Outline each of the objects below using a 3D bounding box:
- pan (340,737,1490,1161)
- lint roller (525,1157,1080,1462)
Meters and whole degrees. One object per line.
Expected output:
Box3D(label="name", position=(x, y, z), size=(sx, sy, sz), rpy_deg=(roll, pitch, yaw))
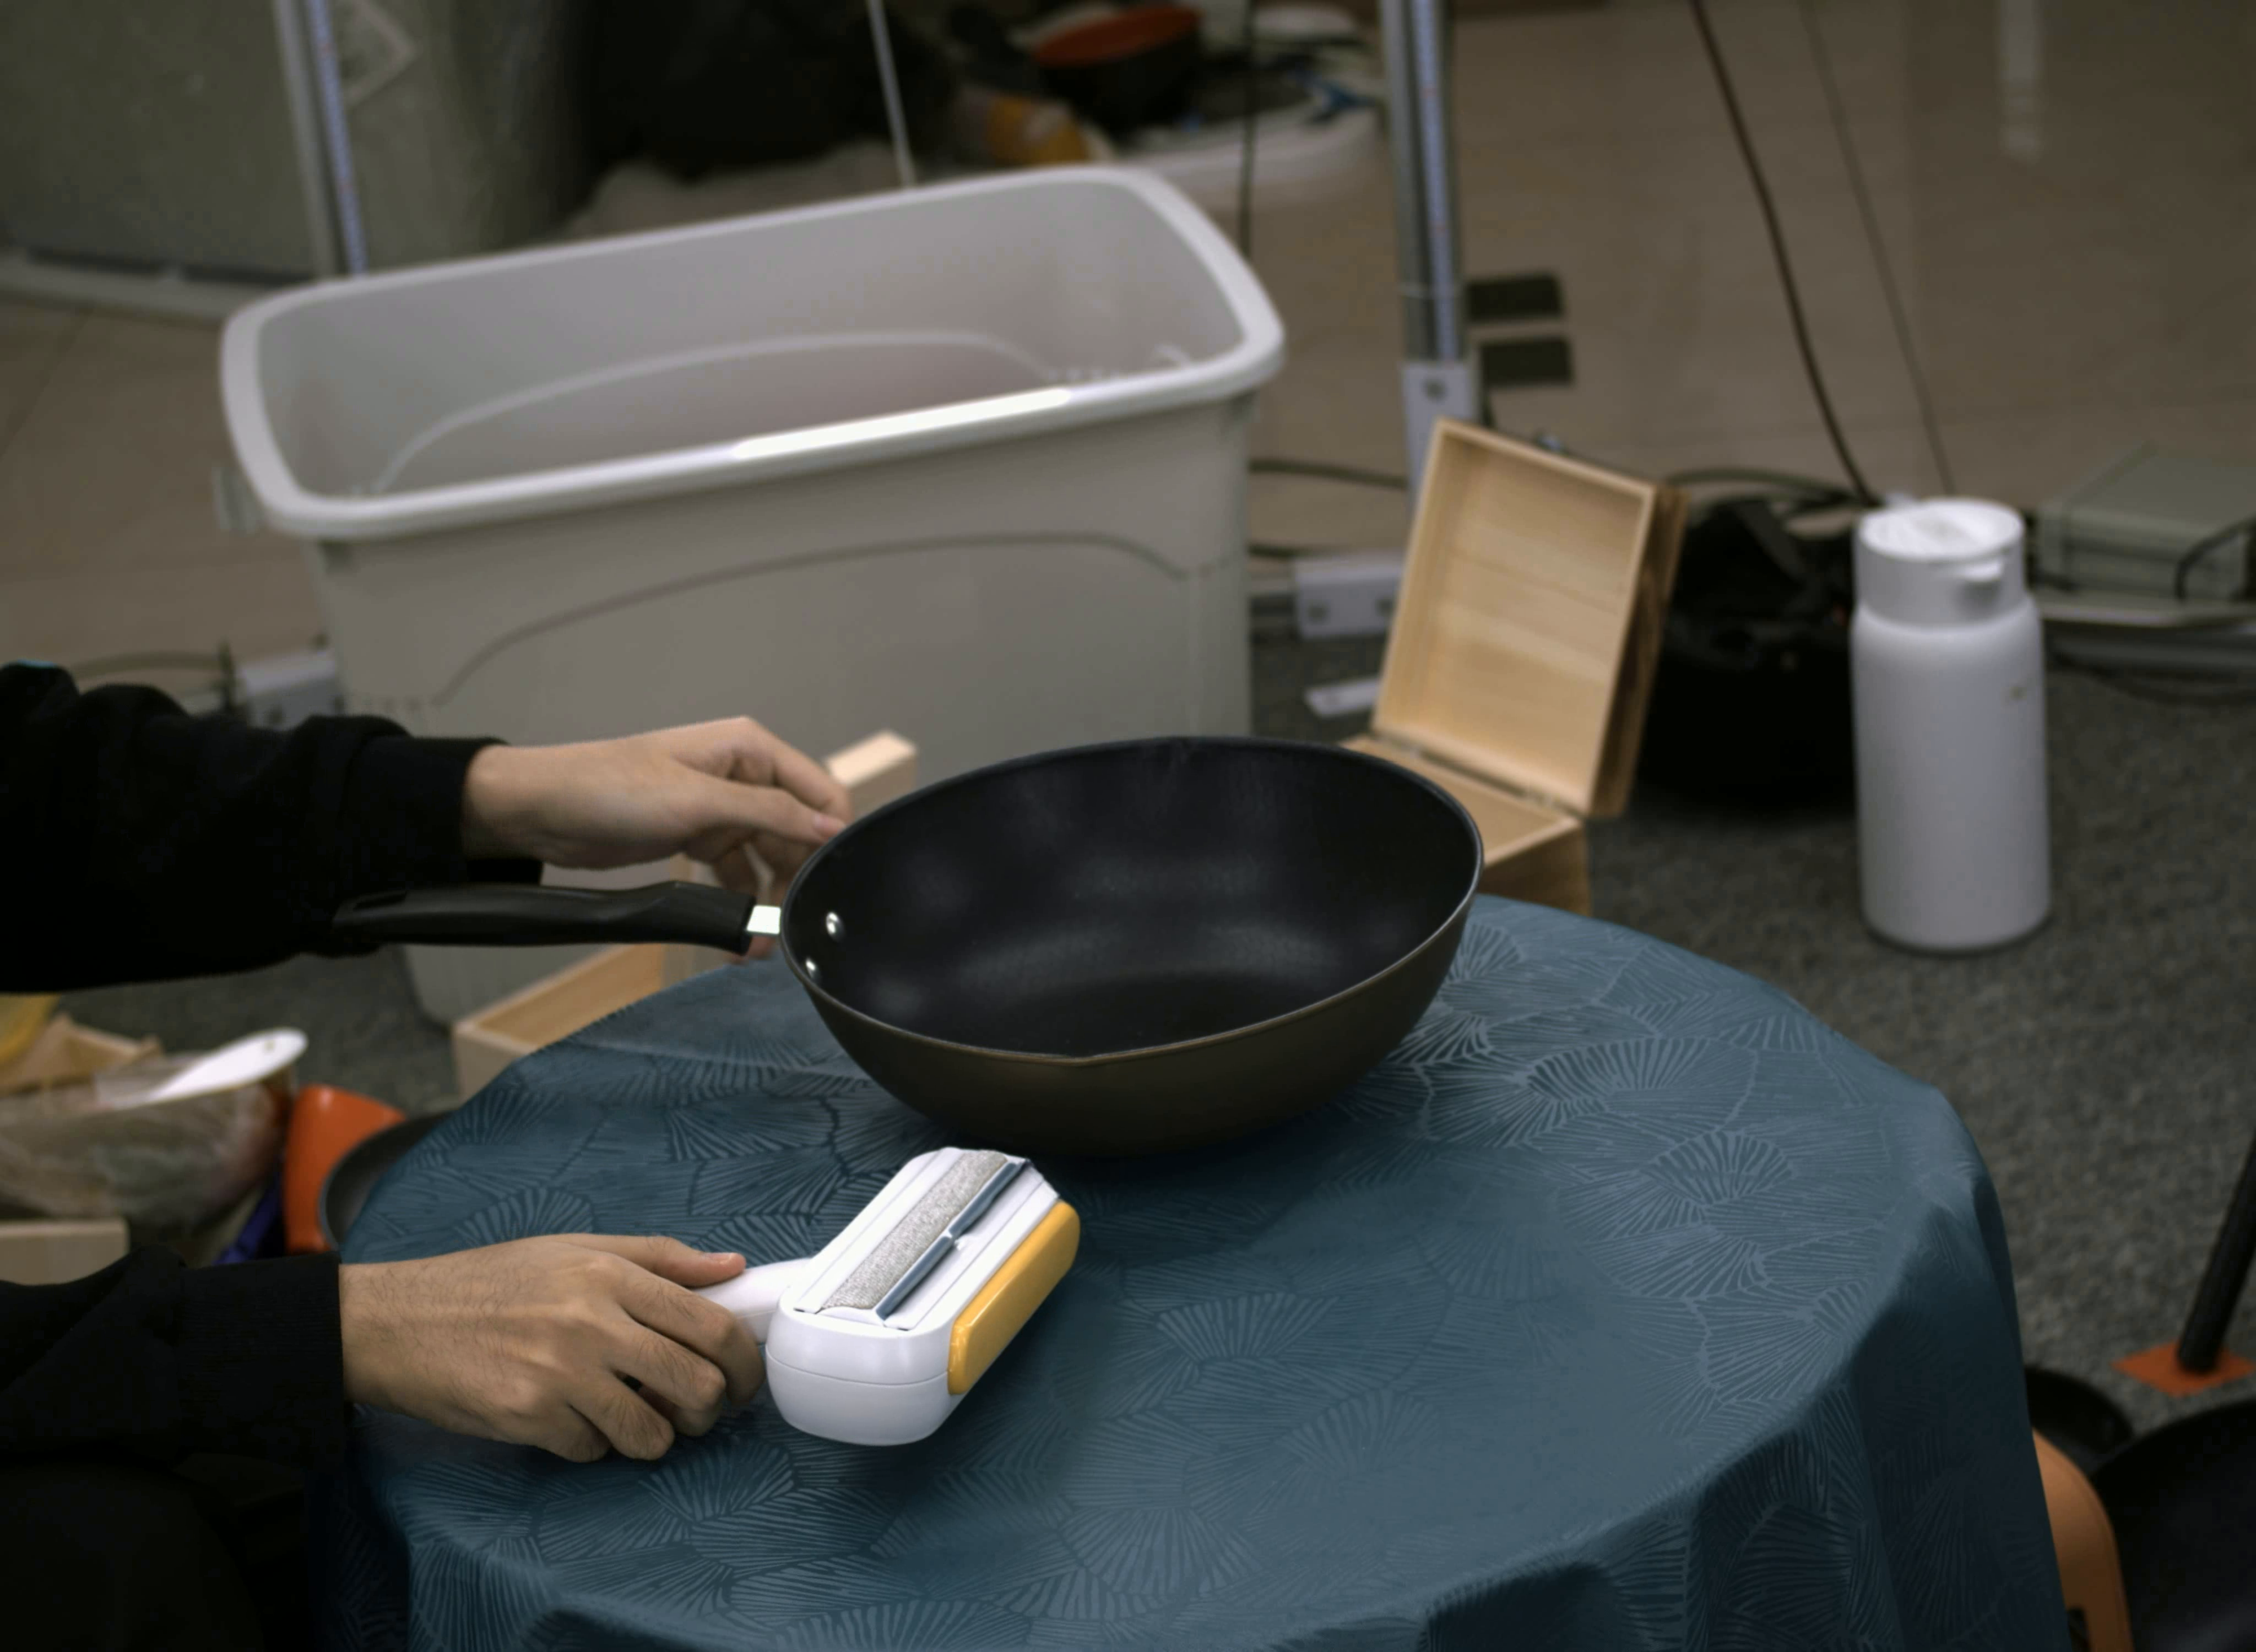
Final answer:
Box3D(label="pan", position=(-0.084, 0.060, 2.234), size=(0.462, 0.088, 0.284), rpy_deg=(-2, 26, 10))
Box3D(label="lint roller", position=(-0.129, 0.173, 2.023), size=(0.192, 0.075, 0.190), rpy_deg=(1, 21, 20))
